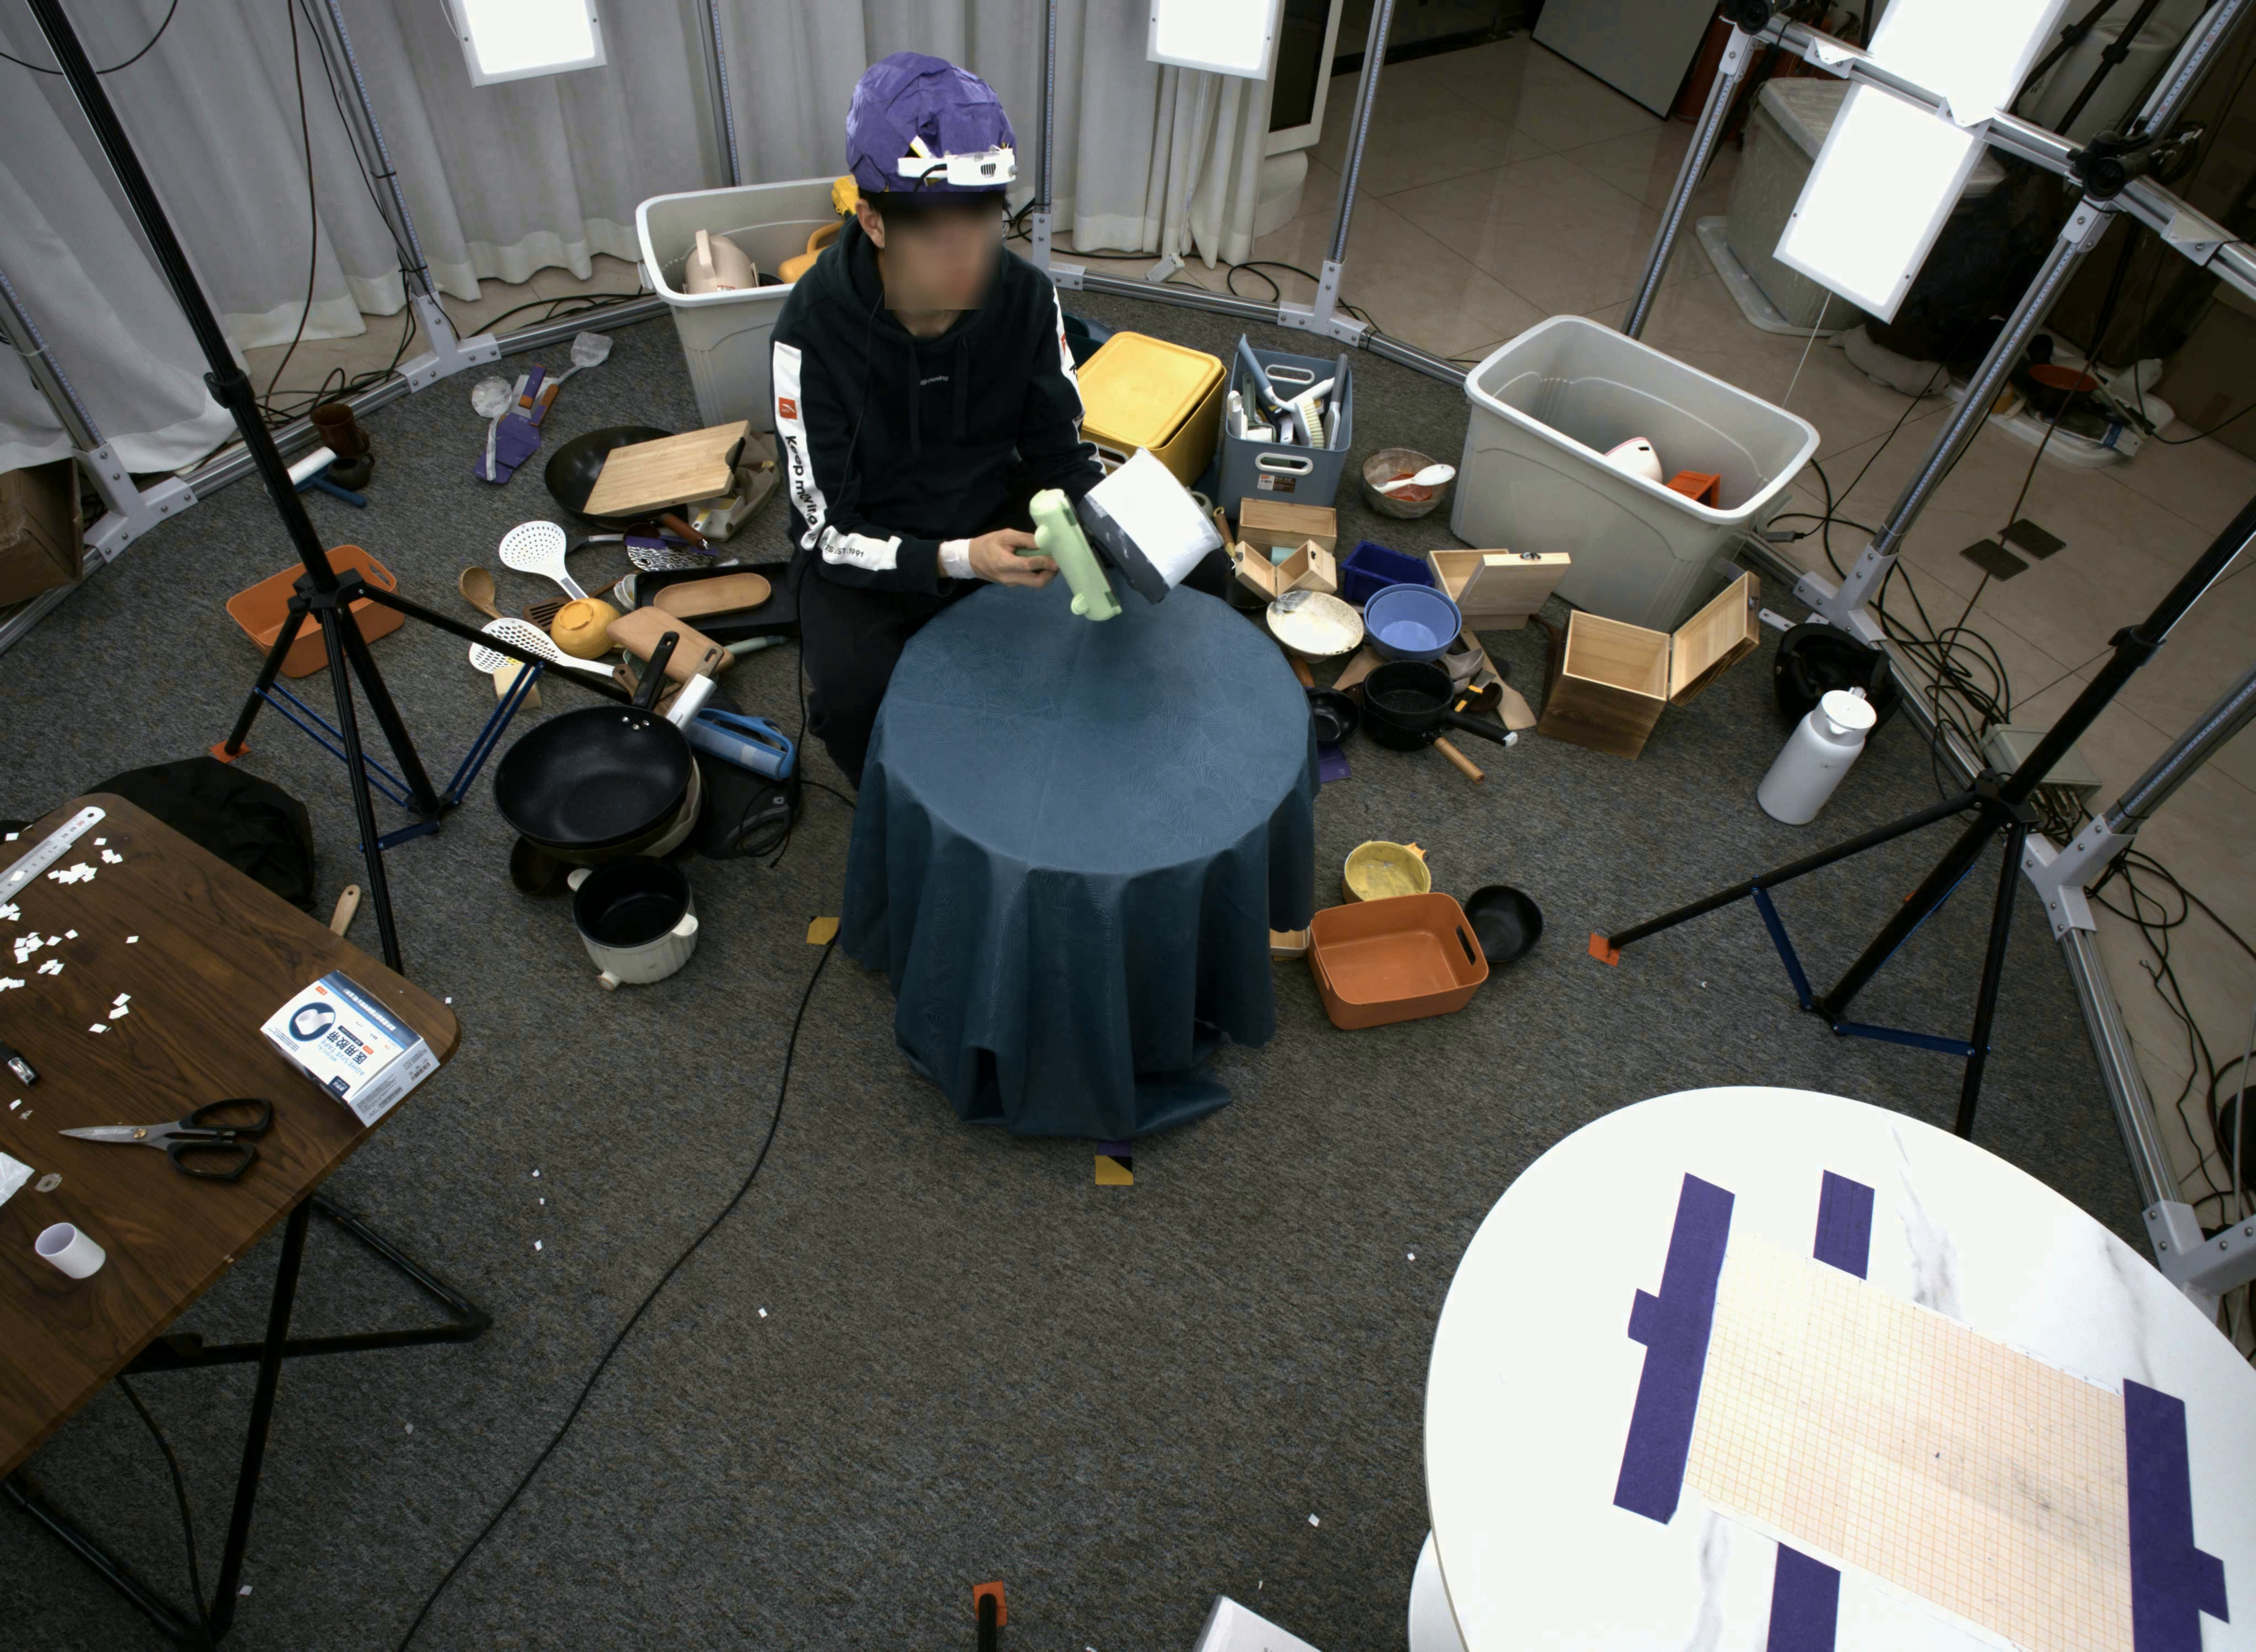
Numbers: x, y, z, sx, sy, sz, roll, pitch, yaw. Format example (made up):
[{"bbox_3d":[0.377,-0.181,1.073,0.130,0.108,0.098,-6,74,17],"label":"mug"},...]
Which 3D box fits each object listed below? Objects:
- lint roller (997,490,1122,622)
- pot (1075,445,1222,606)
[{"bbox_3d":[-0.121,-0.363,1.794,0.184,0.194,0.084,-2,45,34],"label":"lint roller"},{"bbox_3d":[0.023,-0.417,1.802,0.136,0.235,0.178,-41,98,5],"label":"pot"}]
